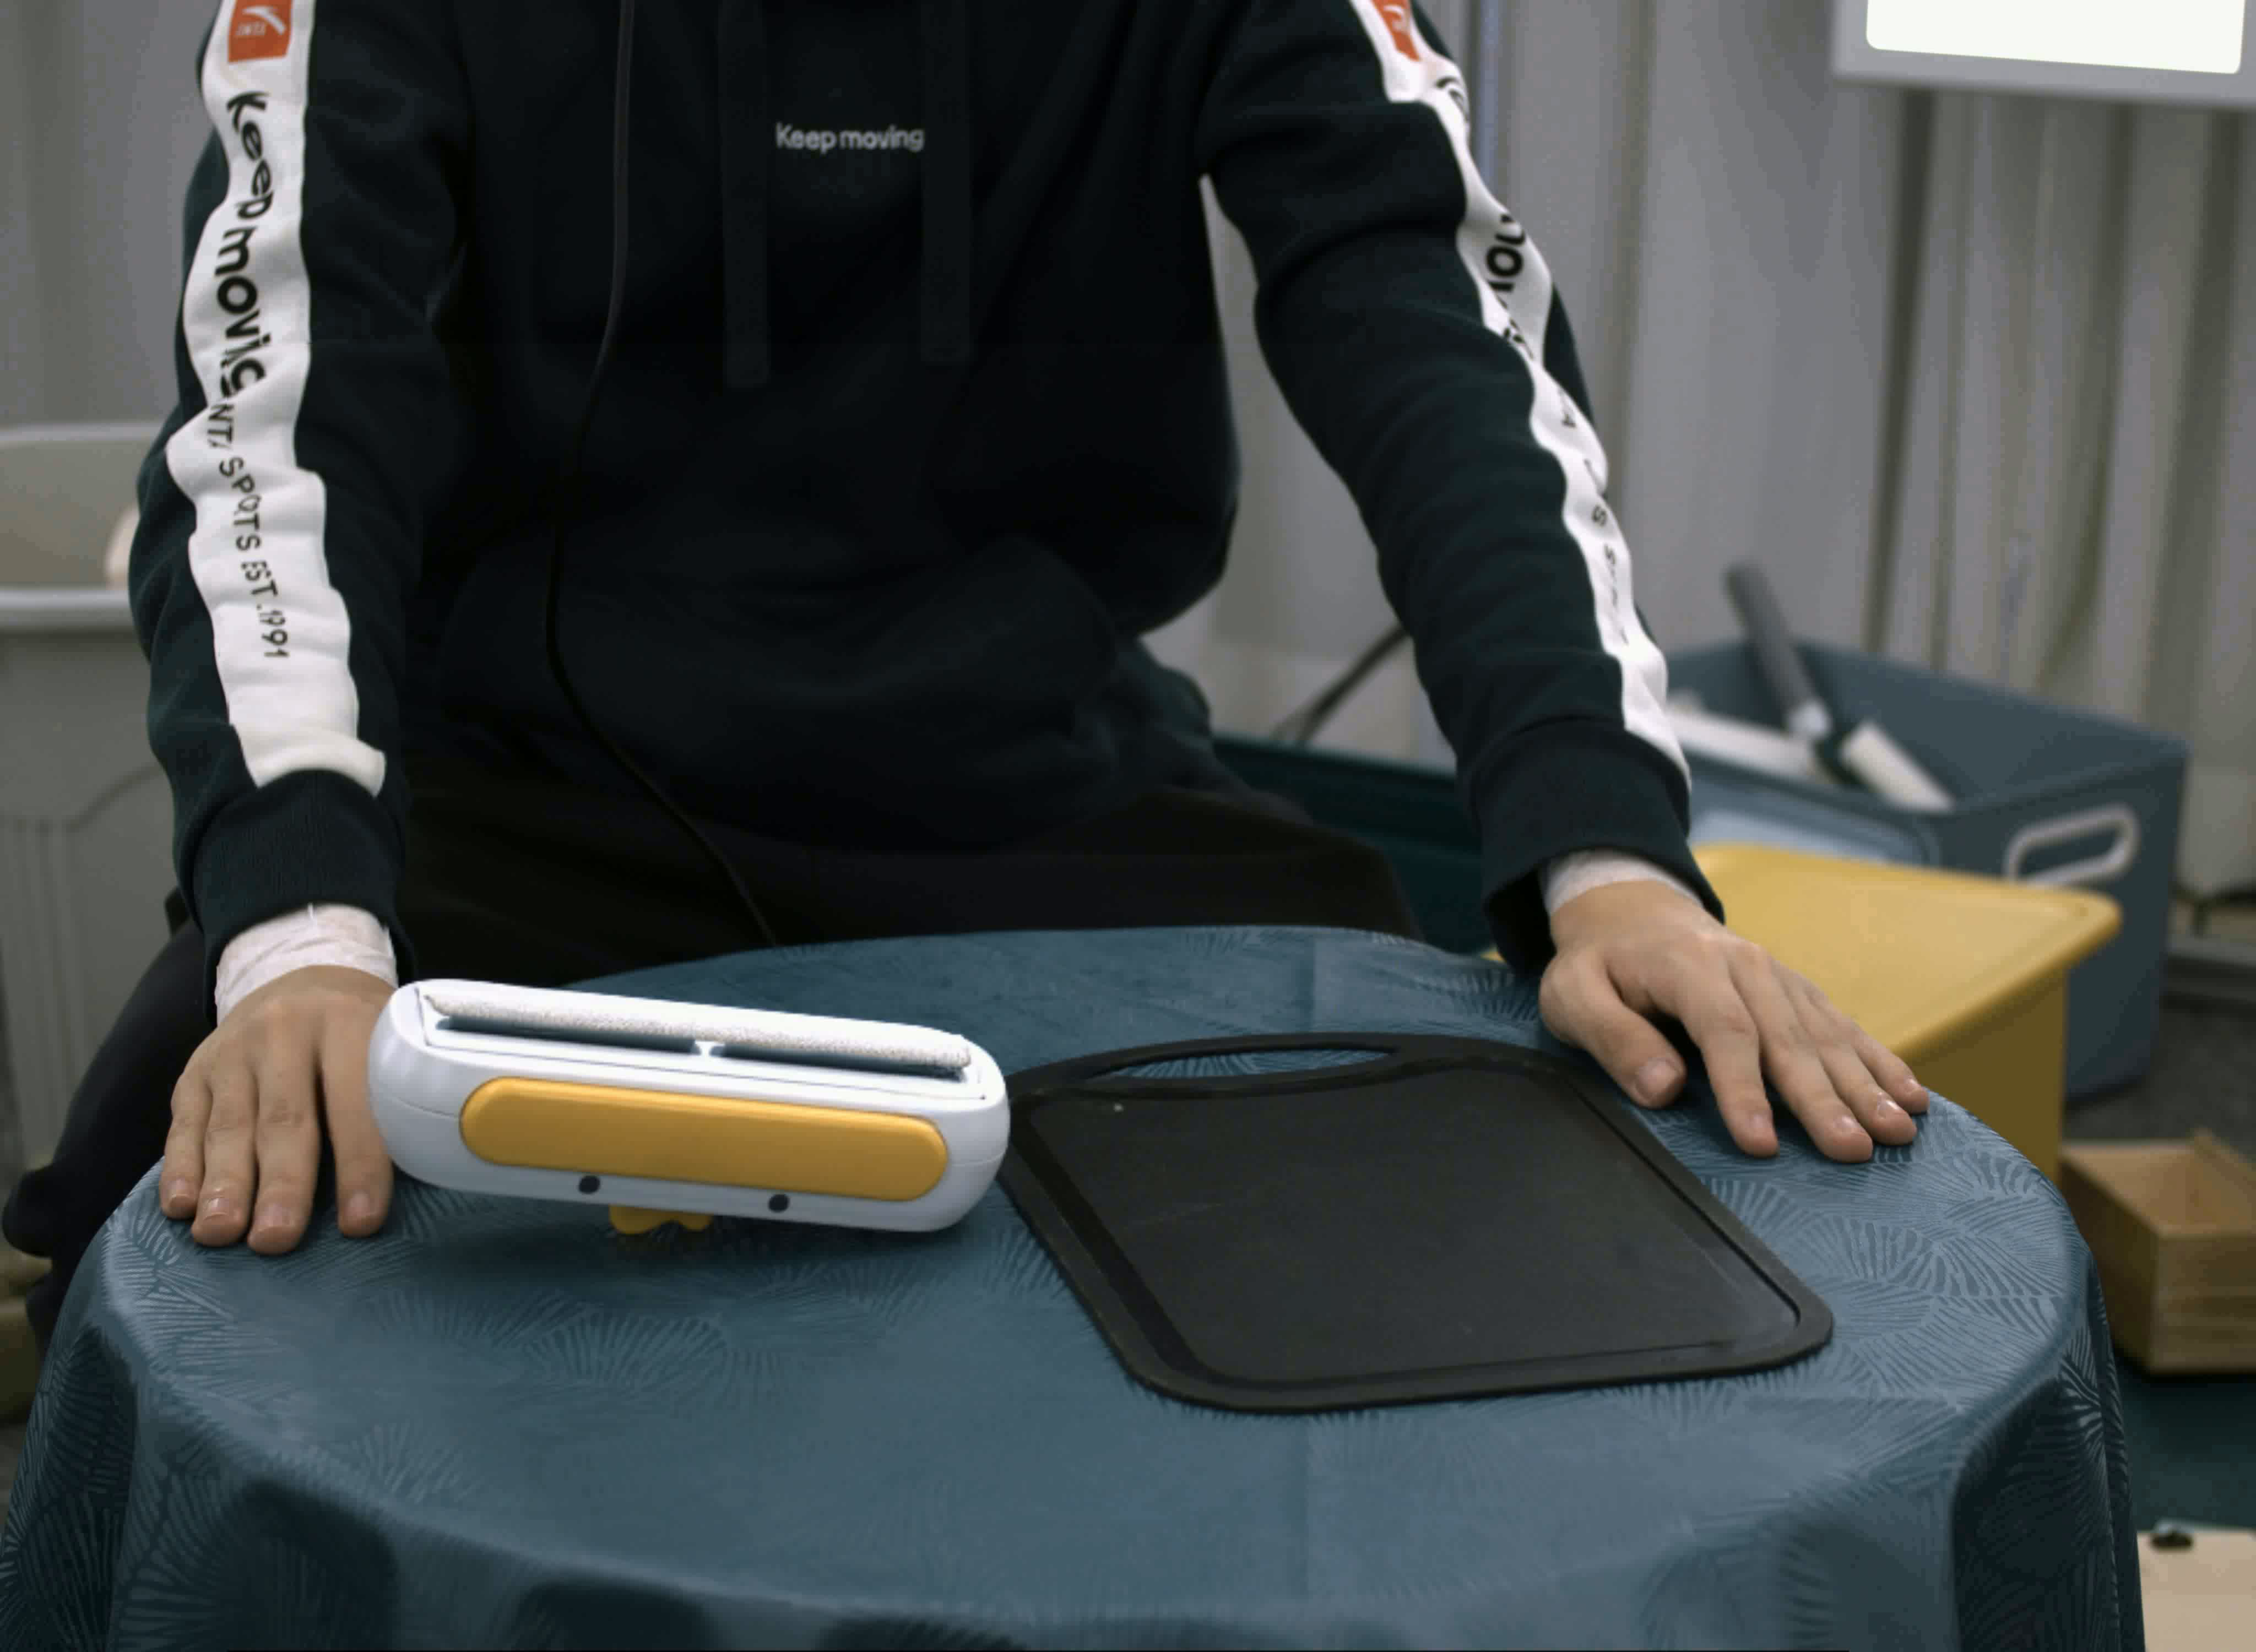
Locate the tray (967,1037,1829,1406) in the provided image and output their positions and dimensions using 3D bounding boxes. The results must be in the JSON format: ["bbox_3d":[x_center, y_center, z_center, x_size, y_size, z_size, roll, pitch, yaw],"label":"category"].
[{"bbox_3d":[0.071,0.113,1.608,0.211,0.010,0.322,-3,16,-13],"label":"tray"}]

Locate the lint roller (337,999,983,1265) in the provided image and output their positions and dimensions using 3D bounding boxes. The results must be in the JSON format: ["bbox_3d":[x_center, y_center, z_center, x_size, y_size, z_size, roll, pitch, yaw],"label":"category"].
[{"bbox_3d":[-0.148,0.095,1.622,0.193,0.074,0.192,5,0,-9],"label":"lint roller"}]
